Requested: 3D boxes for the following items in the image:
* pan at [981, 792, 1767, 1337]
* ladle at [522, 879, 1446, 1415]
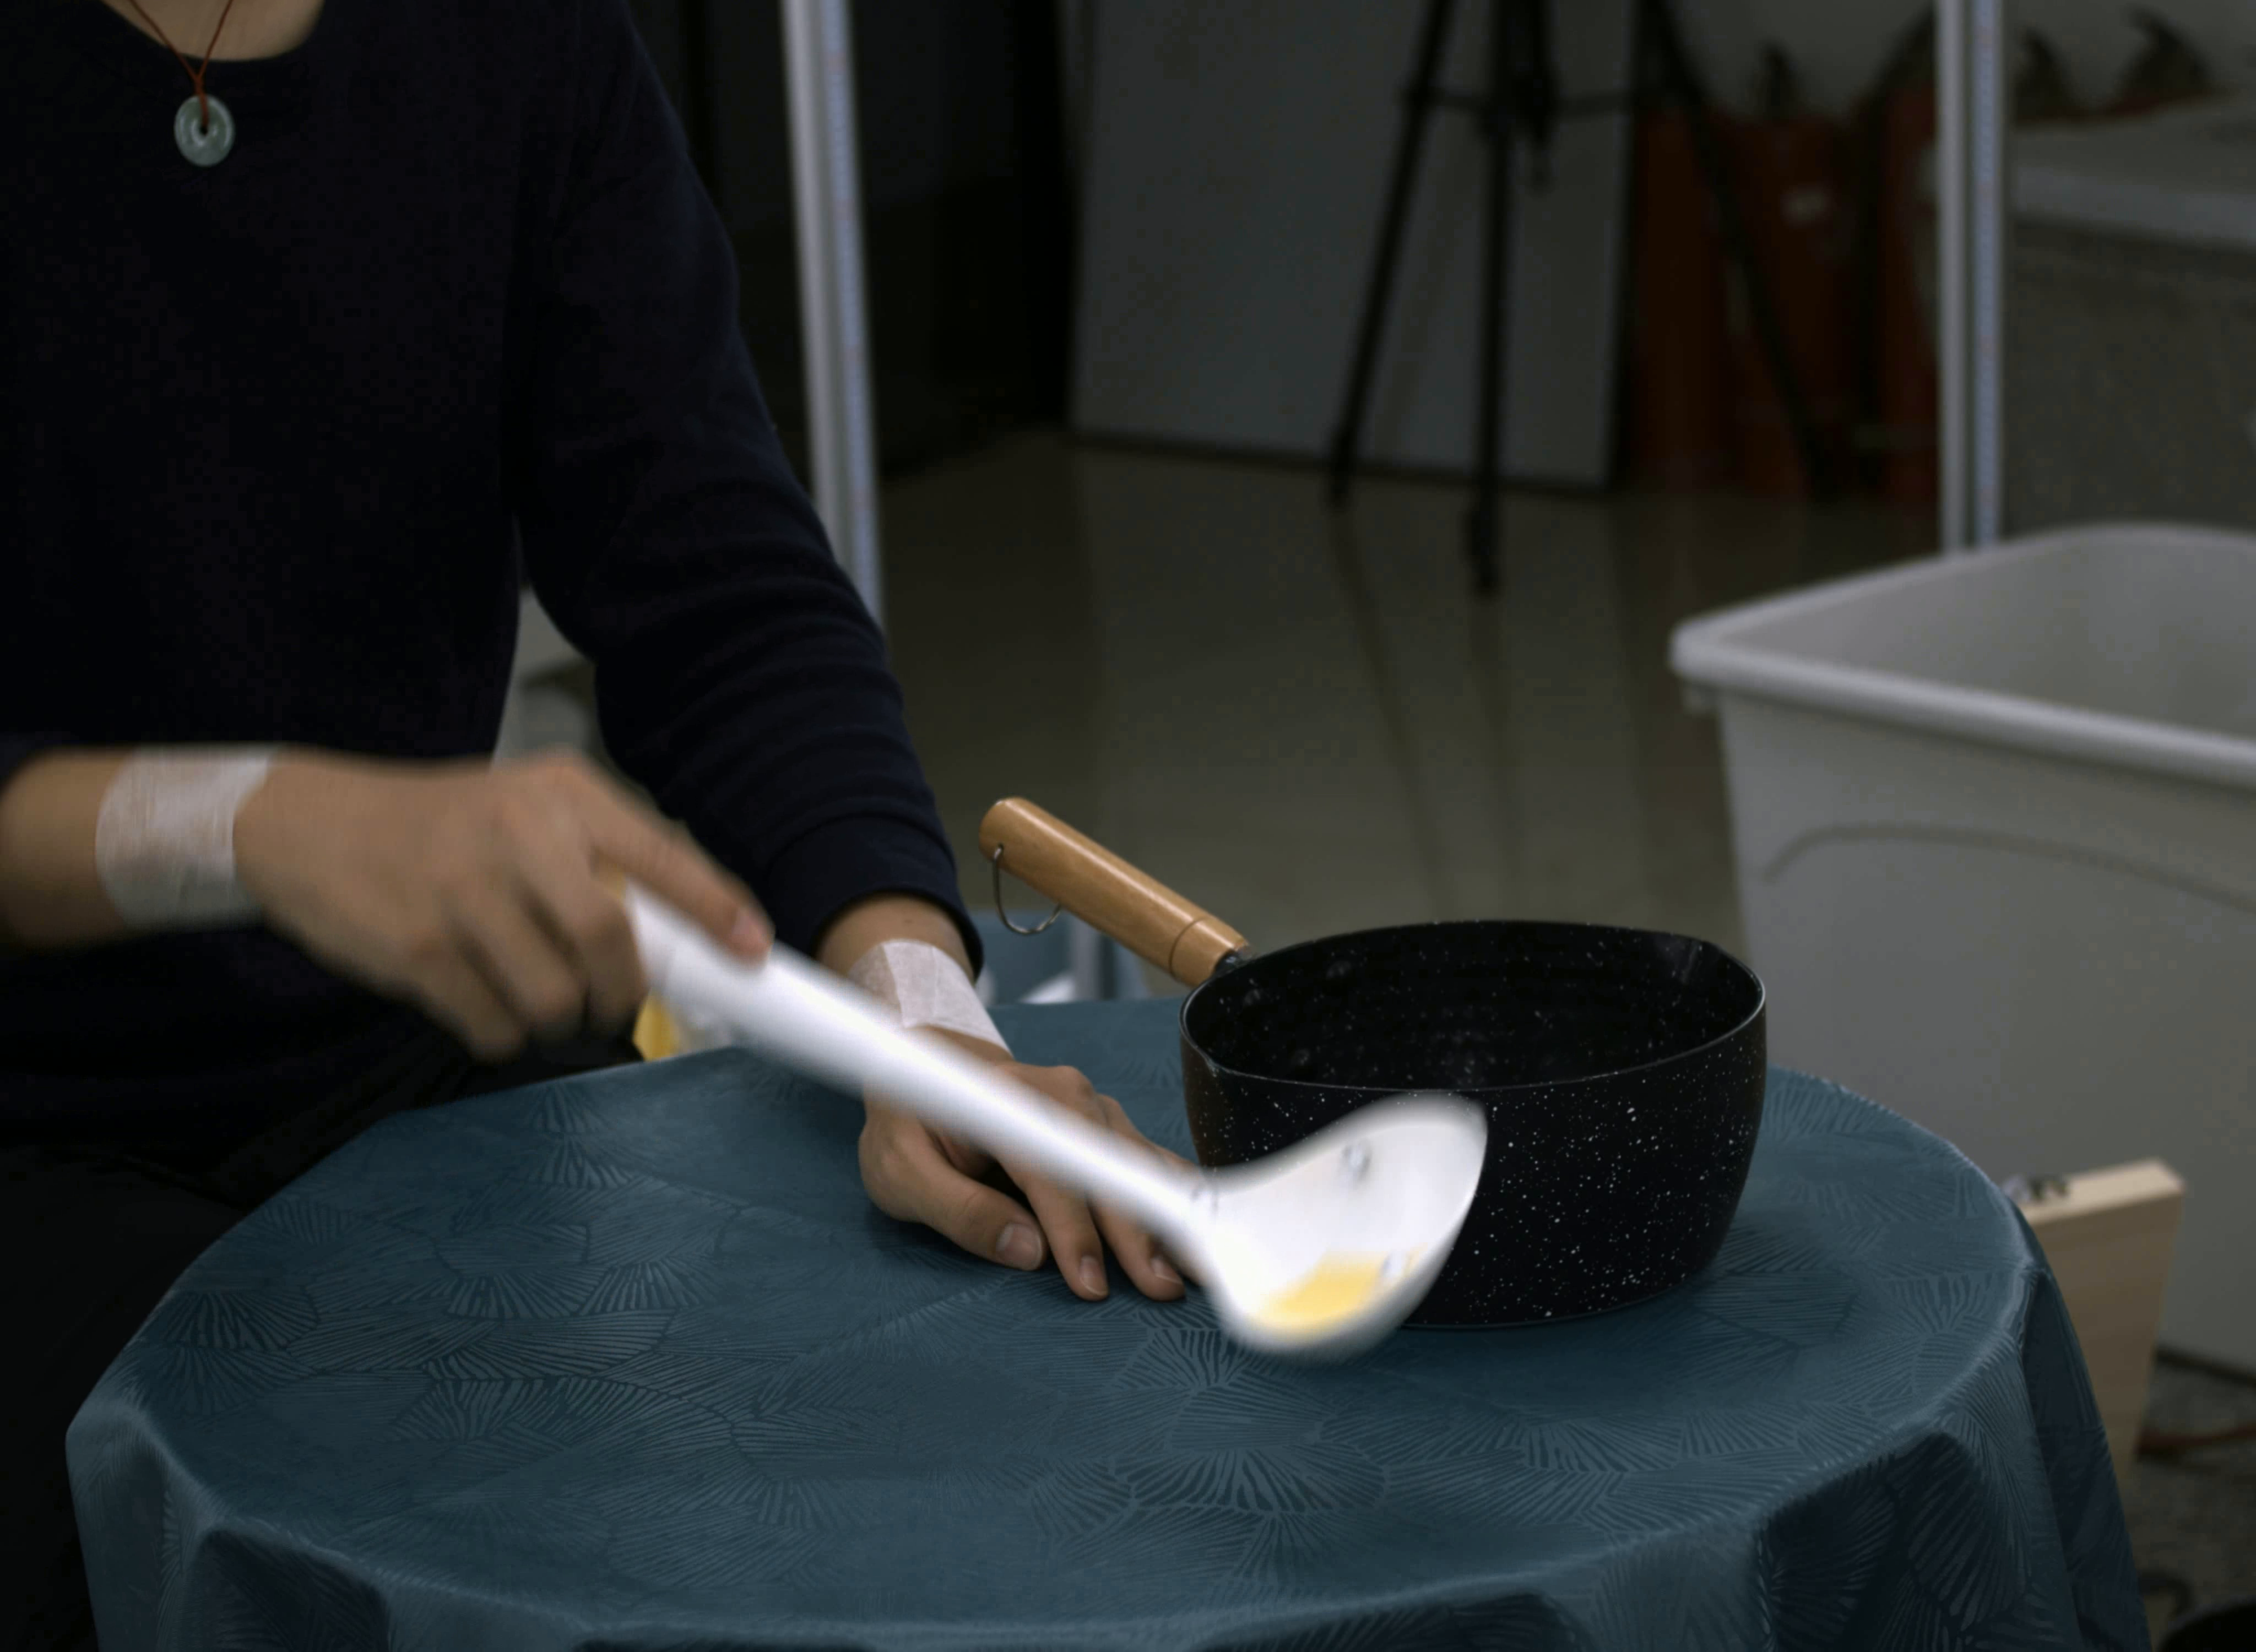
[{"bbox_3d":[0.059,0.070,1.735,0.203,0.109,0.346,-15,19,-35],"label":"pan"},{"bbox_3d":[-0.046,0.080,1.511,0.293,0.070,0.090,26,63,19],"label":"ladle"}]
